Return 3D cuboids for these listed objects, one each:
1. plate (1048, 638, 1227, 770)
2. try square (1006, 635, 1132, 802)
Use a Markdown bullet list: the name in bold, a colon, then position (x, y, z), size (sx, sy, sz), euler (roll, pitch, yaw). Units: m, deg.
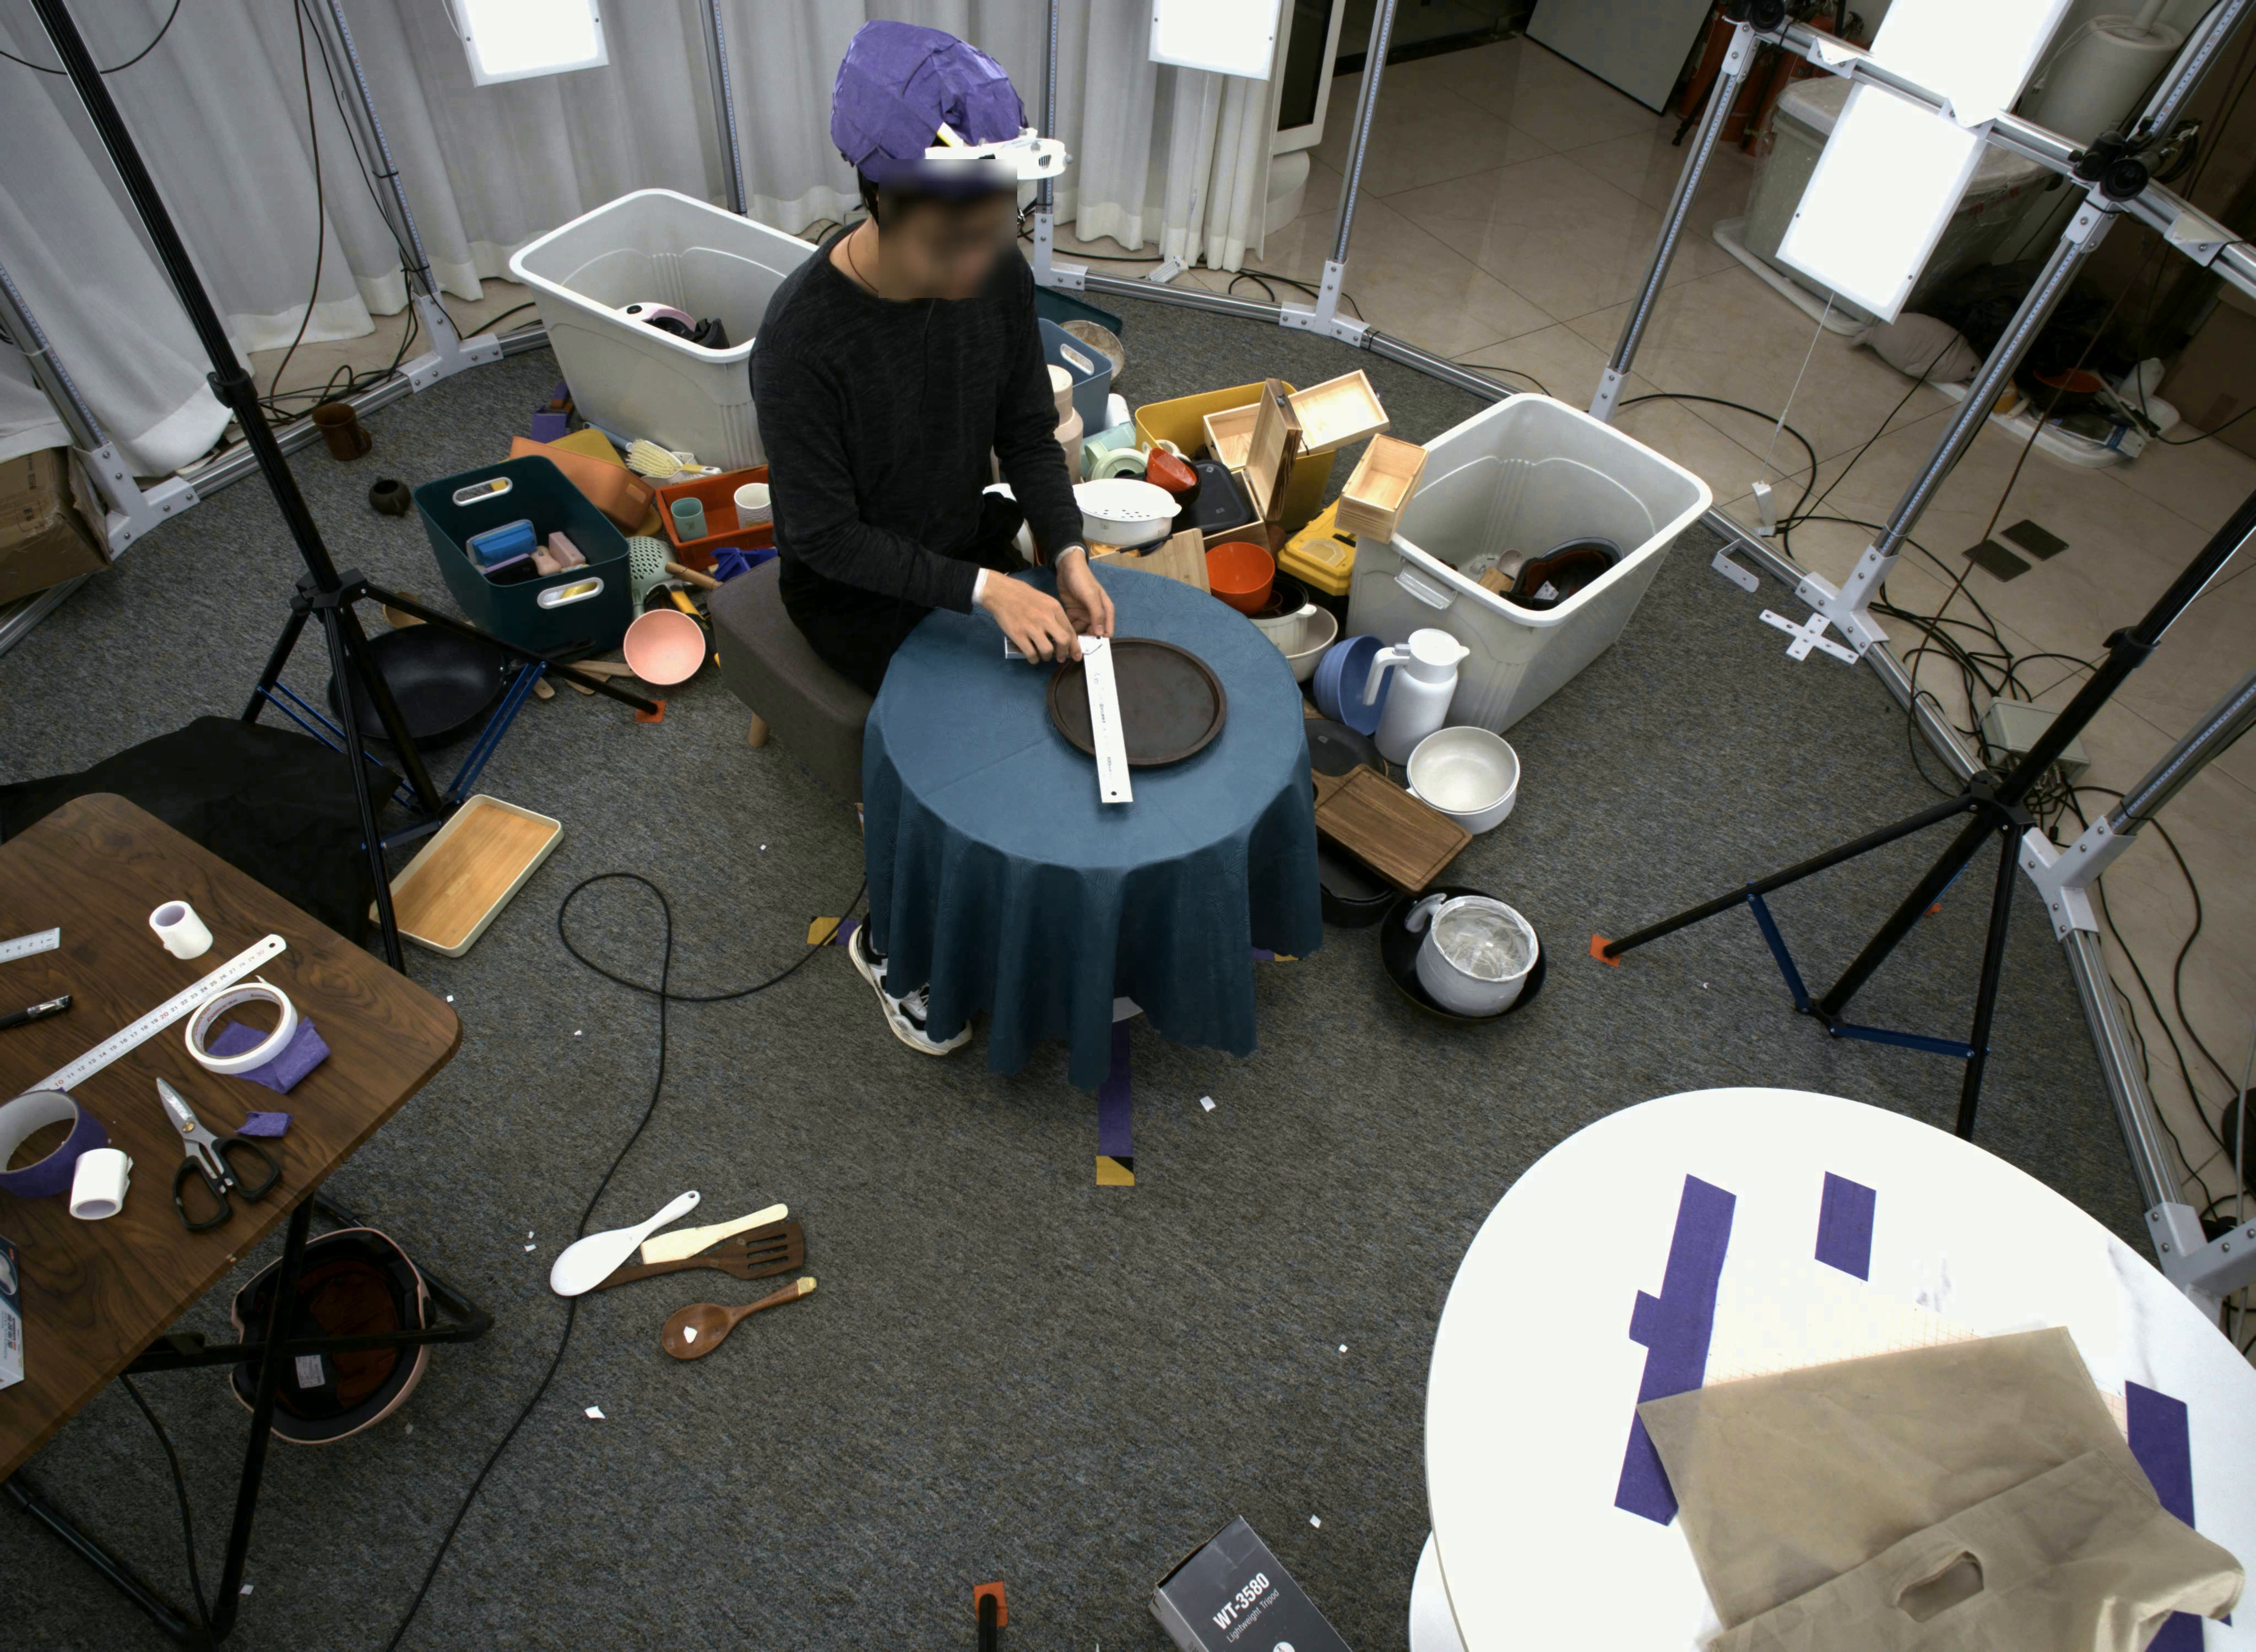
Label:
- **plate**: position (0.013, -0.174, 1.806), size (0.254, 0.028, 0.261), euler (2, 50, -3)
- **try square**: position (-0.085, -0.152, 1.764), size (0.152, 0.015, 0.321), euler (-2, 50, -6)
